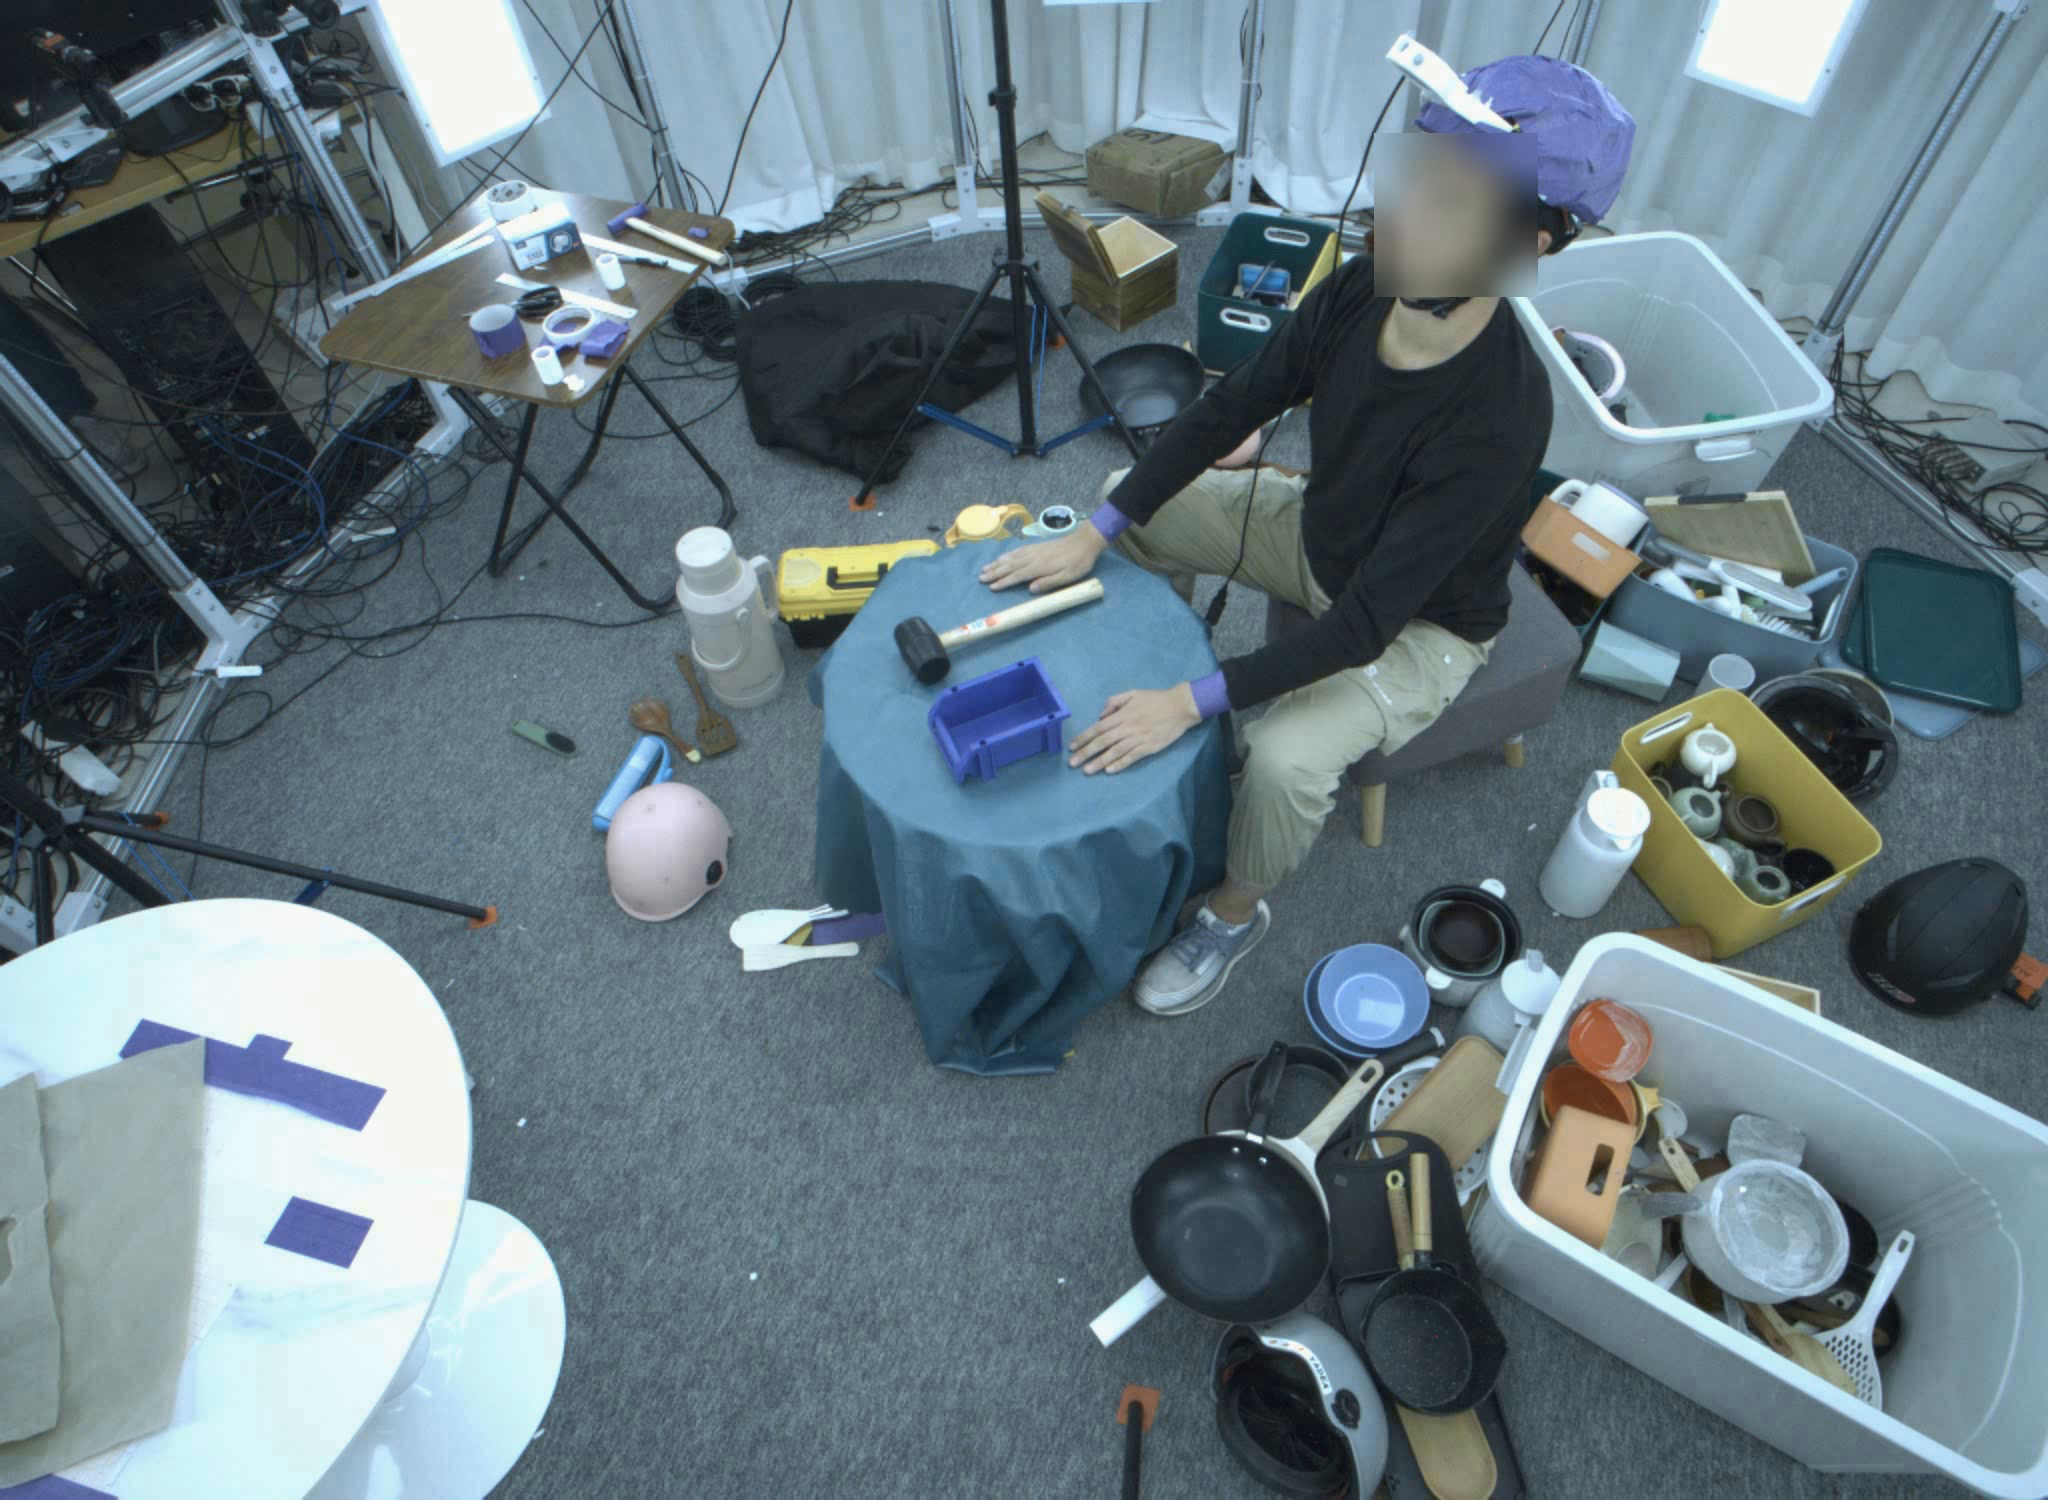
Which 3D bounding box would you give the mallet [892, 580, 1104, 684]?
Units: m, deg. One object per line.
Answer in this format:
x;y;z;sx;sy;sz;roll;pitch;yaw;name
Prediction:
-0.034;-0.204;1.893;0.342;0.065;0.100;-22;59;-14;mallet

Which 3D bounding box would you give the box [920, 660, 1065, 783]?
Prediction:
-0.047;-0.036;1.760;0.181;0.082;0.122;-18;56;-15;box
